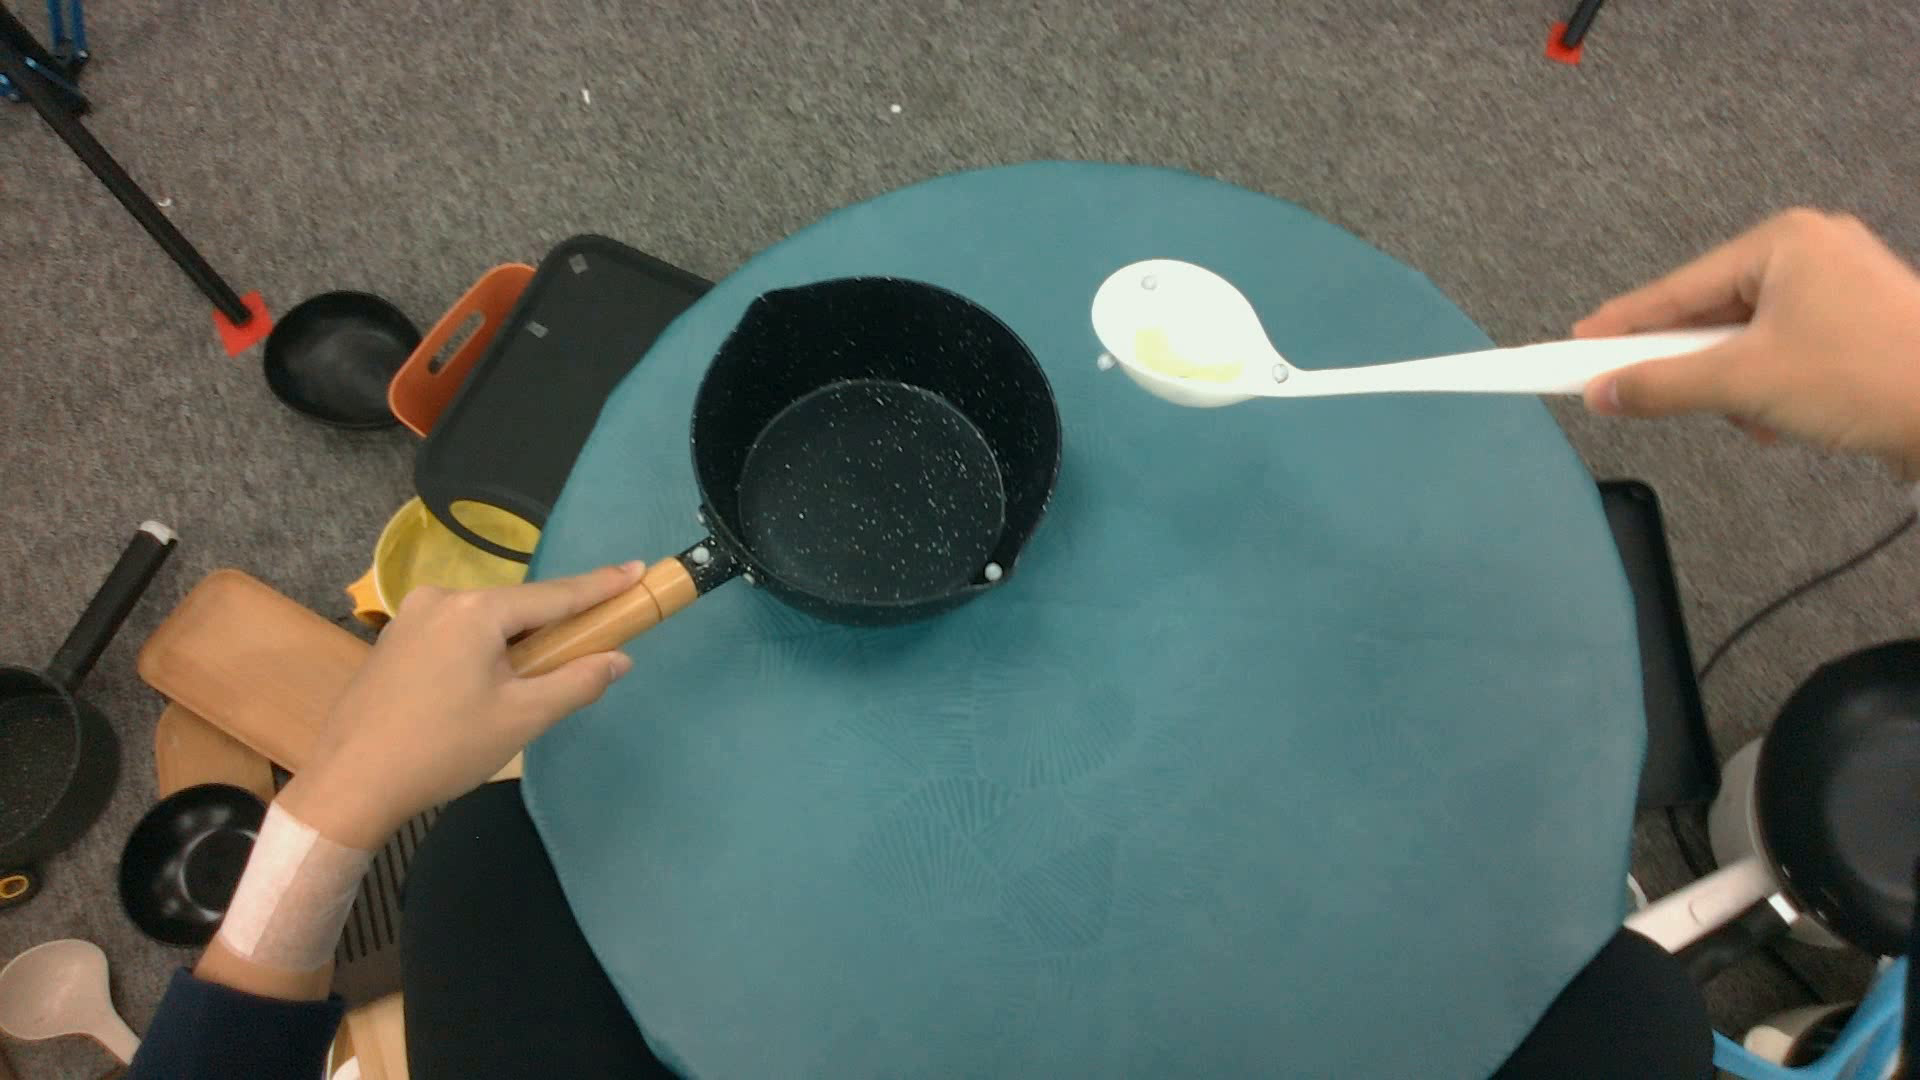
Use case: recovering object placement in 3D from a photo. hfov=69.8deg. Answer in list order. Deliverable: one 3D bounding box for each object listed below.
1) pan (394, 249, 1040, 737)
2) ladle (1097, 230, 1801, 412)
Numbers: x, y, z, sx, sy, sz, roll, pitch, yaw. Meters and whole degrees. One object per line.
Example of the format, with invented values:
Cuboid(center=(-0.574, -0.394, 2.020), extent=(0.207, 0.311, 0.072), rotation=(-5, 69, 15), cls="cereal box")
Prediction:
Cuboid(center=(-0.113, -0.005, 0.680), extent=(0.344, 0.108, 0.207), rotation=(-39, 78, -20), cls="pan")
Cuboid(center=(0.196, -0.099, 0.595), extent=(0.292, 0.070, 0.090), rotation=(9, 29, 37), cls="ladle")
